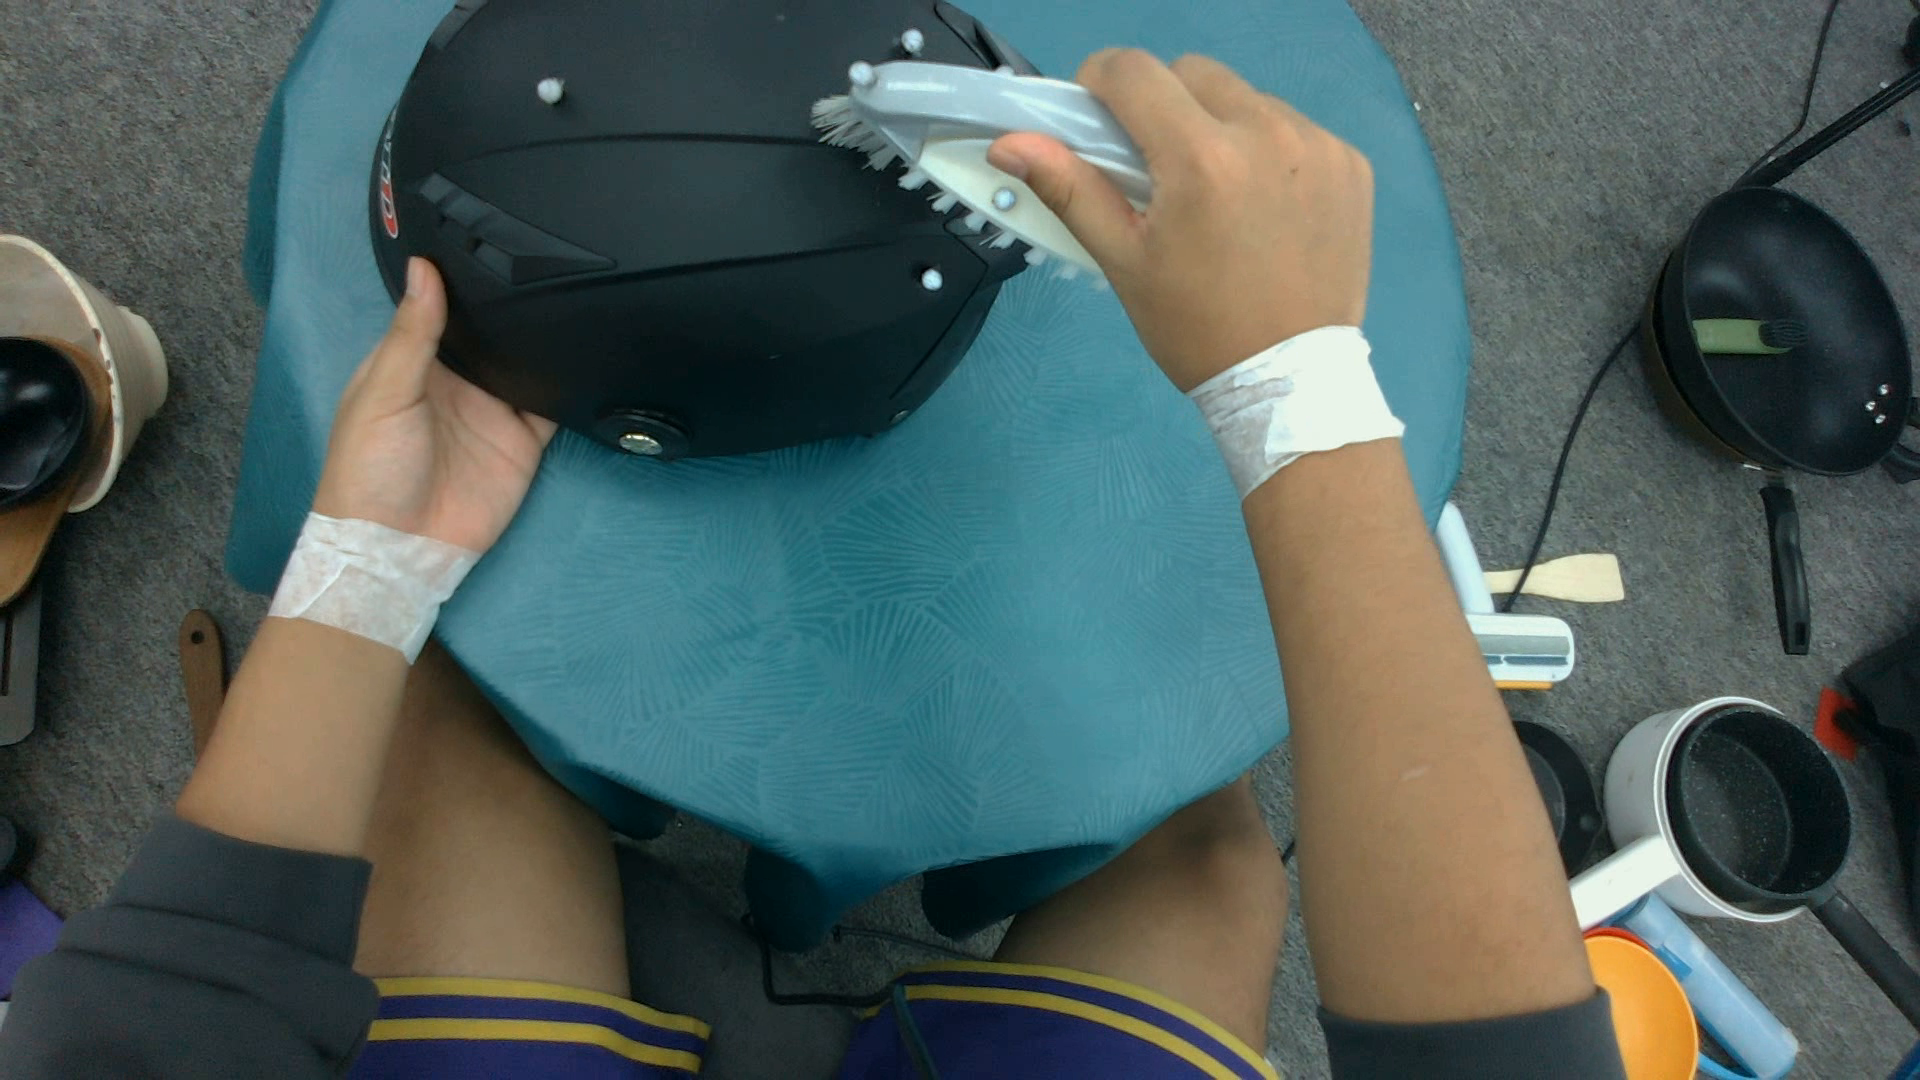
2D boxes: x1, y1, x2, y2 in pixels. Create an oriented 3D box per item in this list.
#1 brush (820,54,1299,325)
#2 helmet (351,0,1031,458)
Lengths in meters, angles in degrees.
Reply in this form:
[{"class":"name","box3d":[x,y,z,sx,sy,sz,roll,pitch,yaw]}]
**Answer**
[{"class":"brush","box3d":[0.035,-0.135,0.487,0.175,0.094,0.061,19,84,-5]},{"class":"helmet","box3d":[-0.110,-0.165,0.582,0.277,0.172,0.247,3,75,-19]}]
